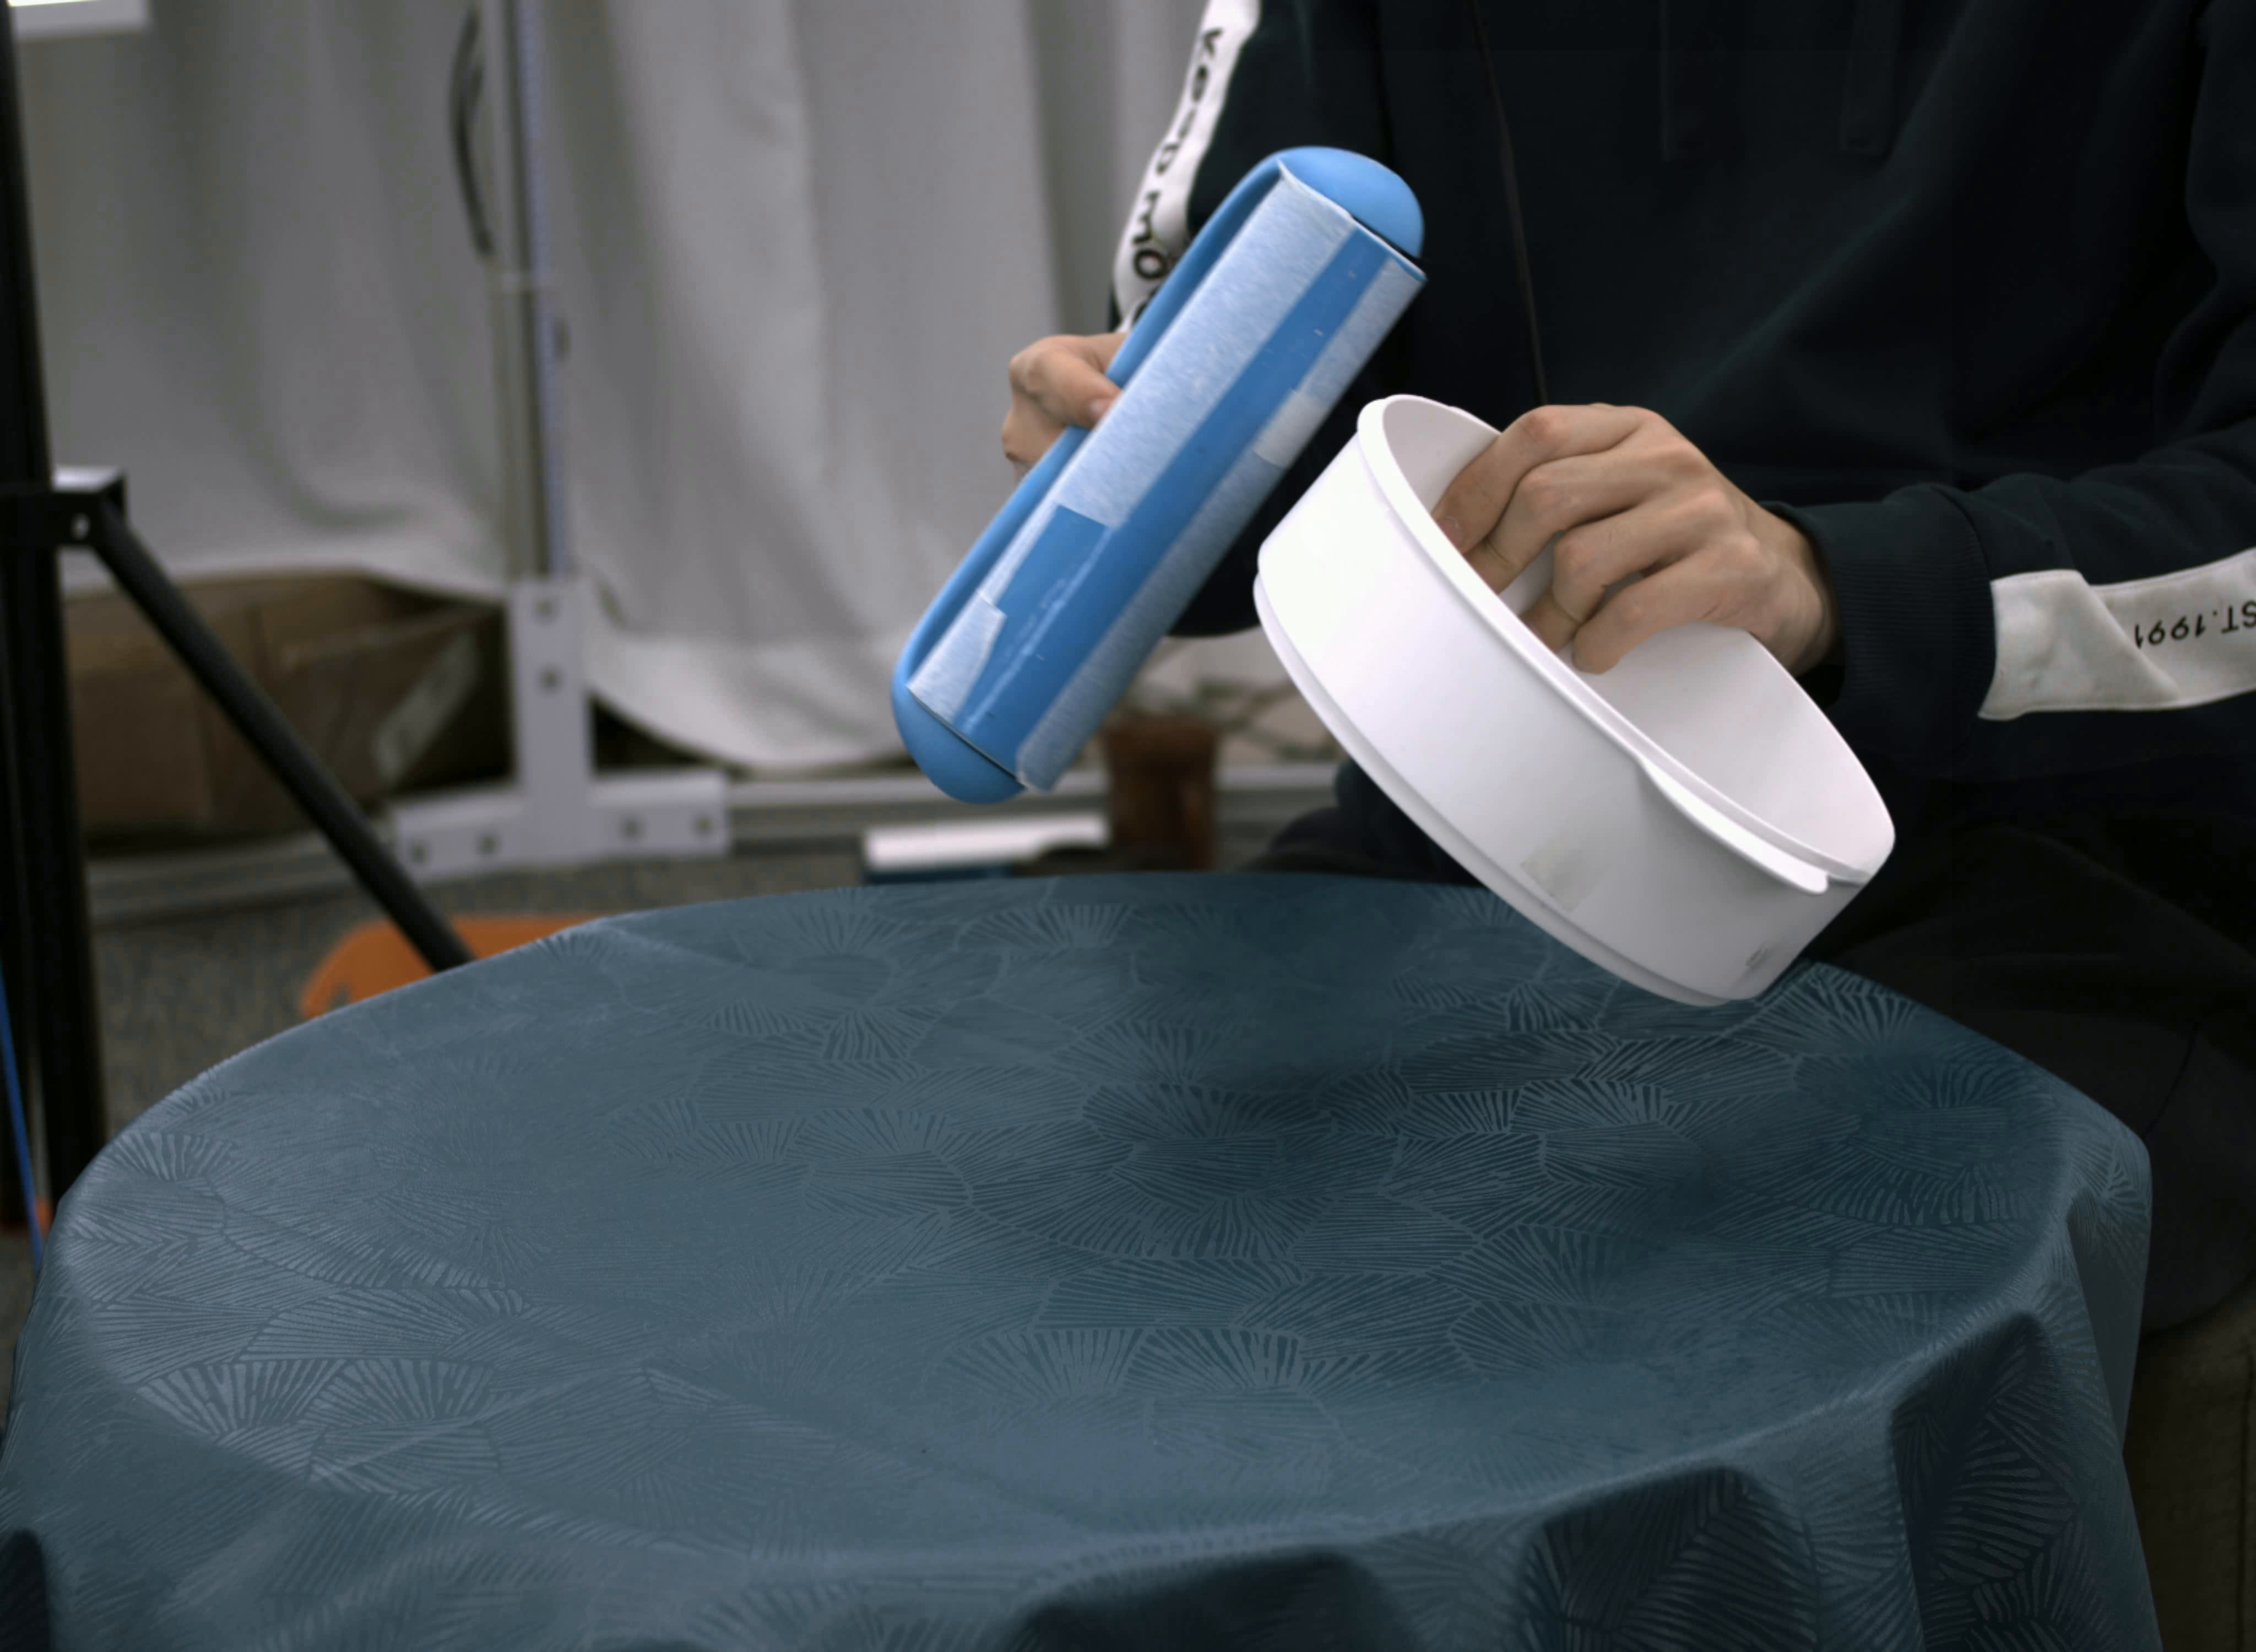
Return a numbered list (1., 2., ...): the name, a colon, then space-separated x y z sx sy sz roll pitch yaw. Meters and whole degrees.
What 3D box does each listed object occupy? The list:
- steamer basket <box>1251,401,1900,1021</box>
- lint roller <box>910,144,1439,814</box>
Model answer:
1. steamer basket: 0.126 -0.030 1.513 0.197 0.069 0.234 32 18 -31
2. lint roller: 0.012 -0.105 1.649 0.067 0.229 0.181 34 1 -4
